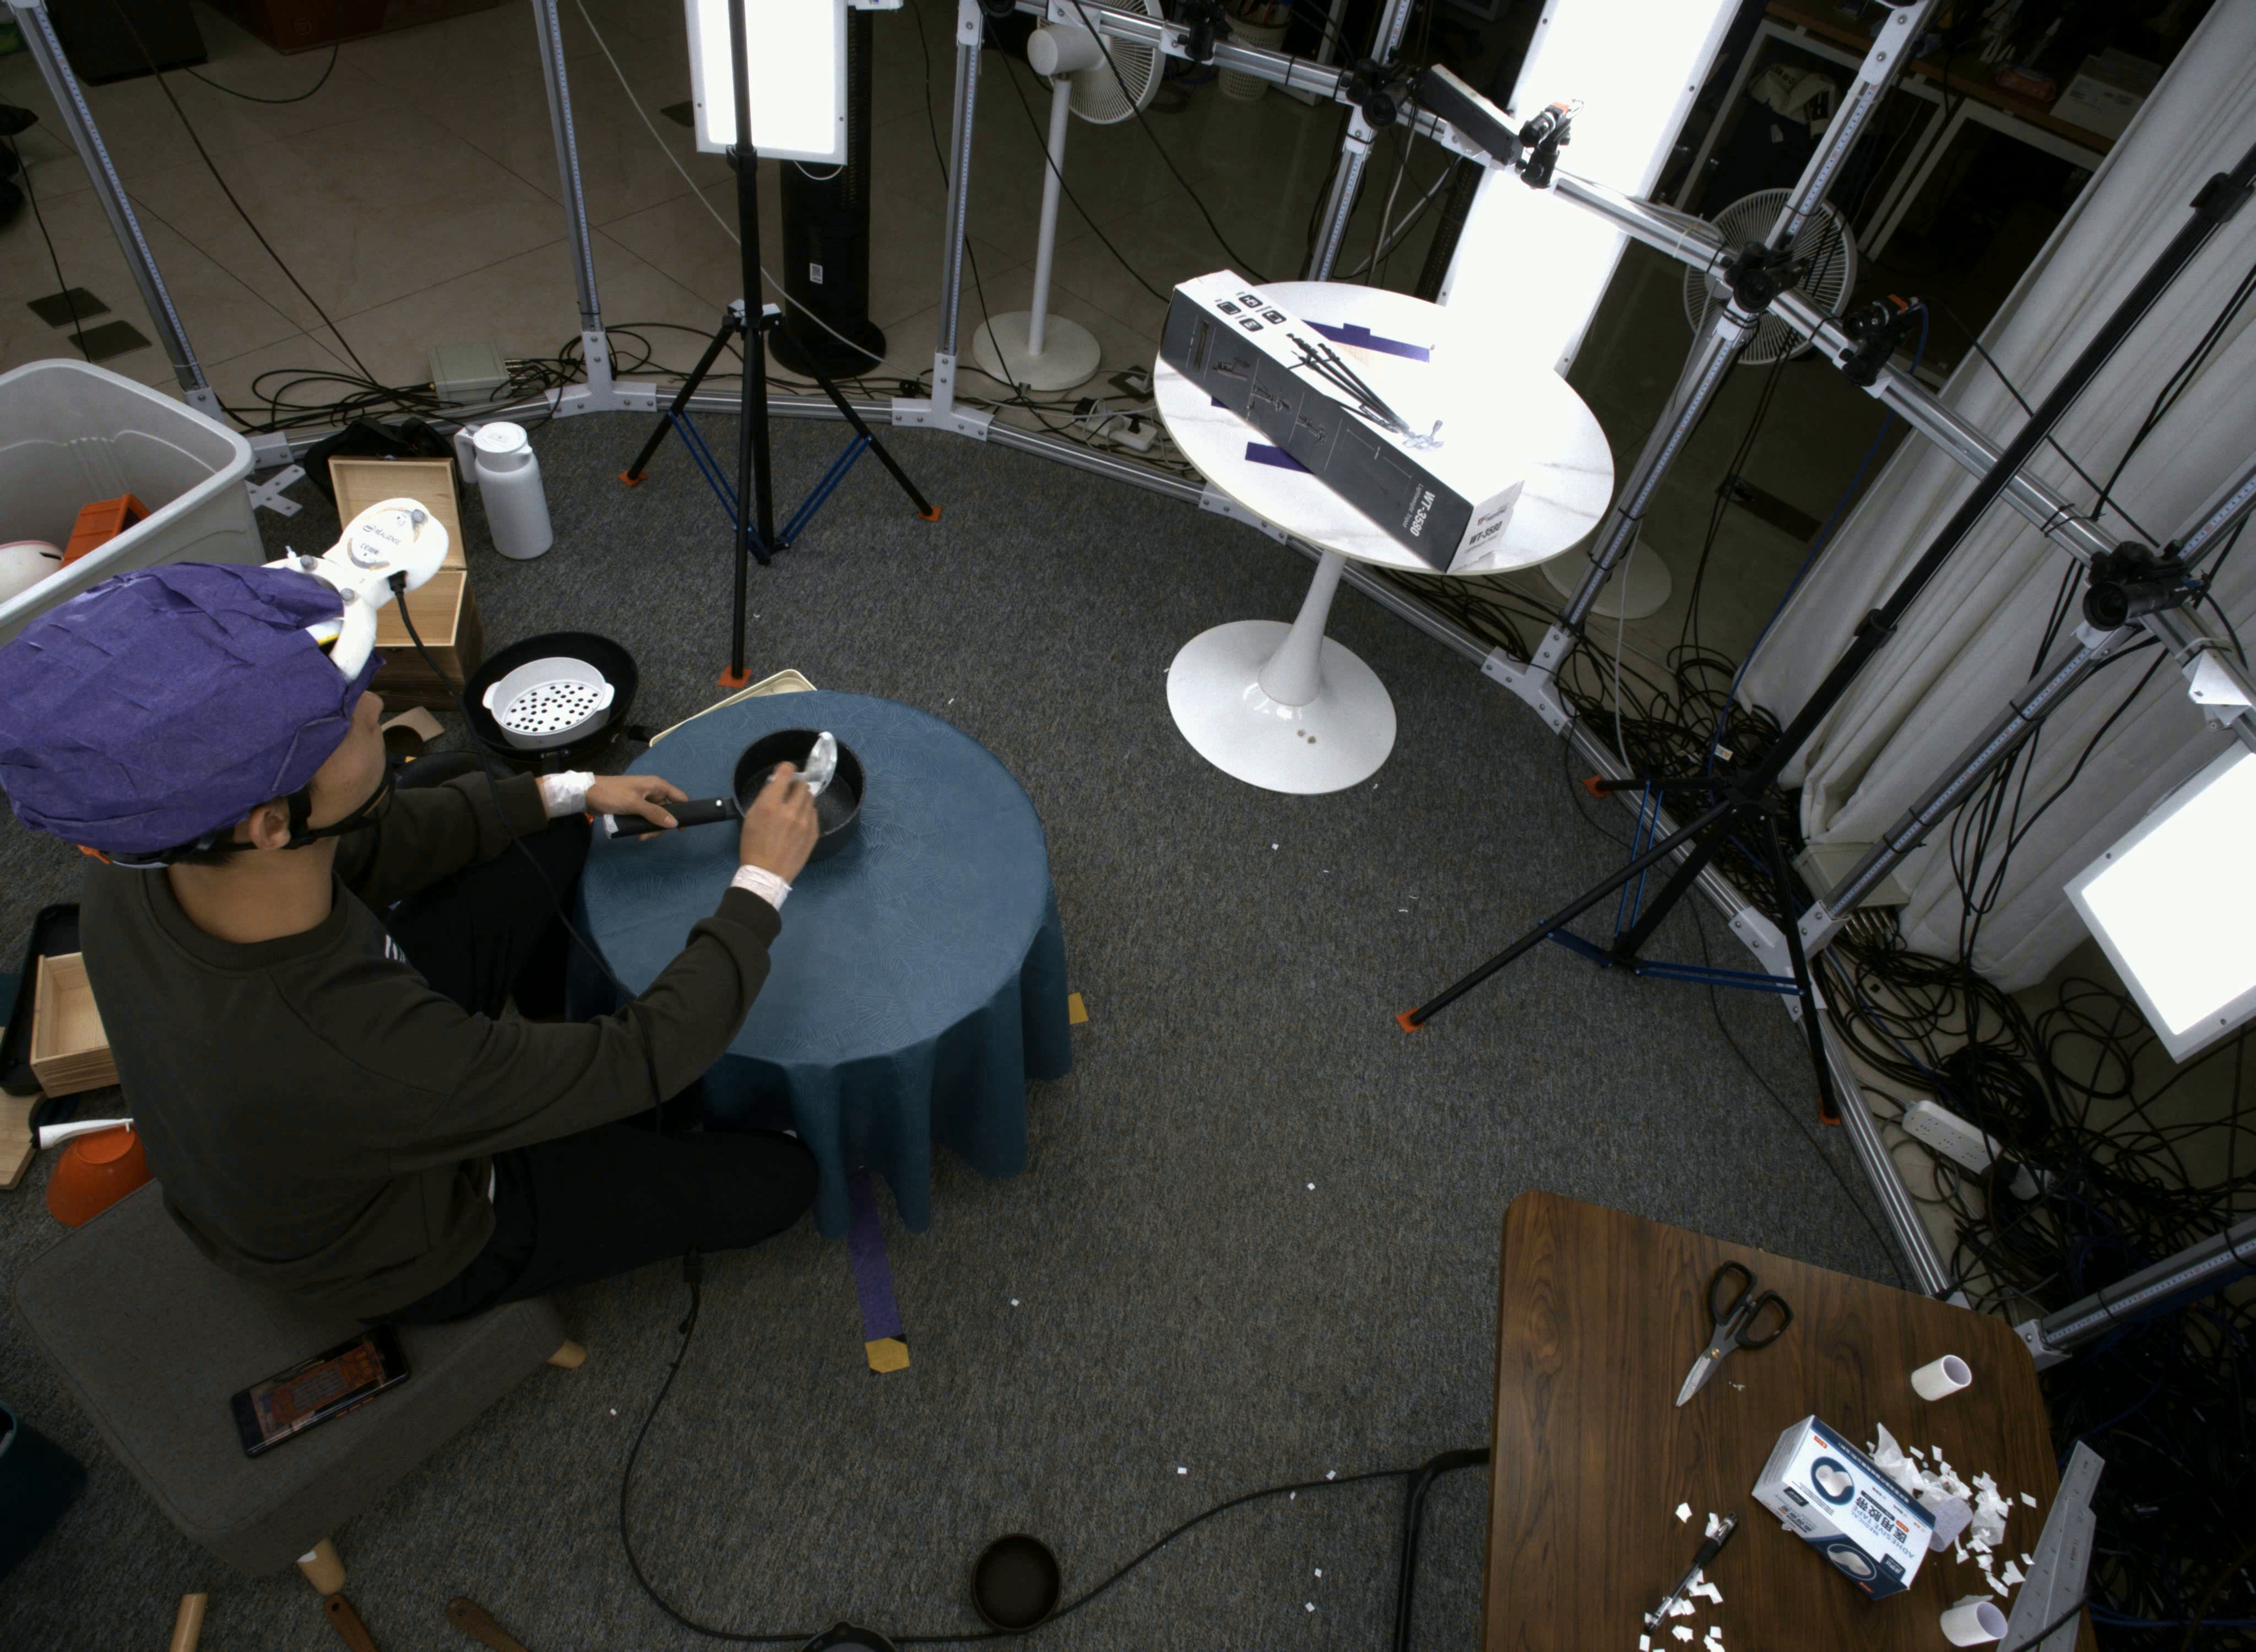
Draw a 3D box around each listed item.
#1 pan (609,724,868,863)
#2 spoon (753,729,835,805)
[{"bbox_3d":[-0.502,-0.026,1.669,0.331,0.087,0.169,-12,64,-24],"label":"pan"},{"bbox_3d":[-0.416,-0.065,1.568,0.058,0.102,0.277,18,9,7],"label":"spoon"}]
